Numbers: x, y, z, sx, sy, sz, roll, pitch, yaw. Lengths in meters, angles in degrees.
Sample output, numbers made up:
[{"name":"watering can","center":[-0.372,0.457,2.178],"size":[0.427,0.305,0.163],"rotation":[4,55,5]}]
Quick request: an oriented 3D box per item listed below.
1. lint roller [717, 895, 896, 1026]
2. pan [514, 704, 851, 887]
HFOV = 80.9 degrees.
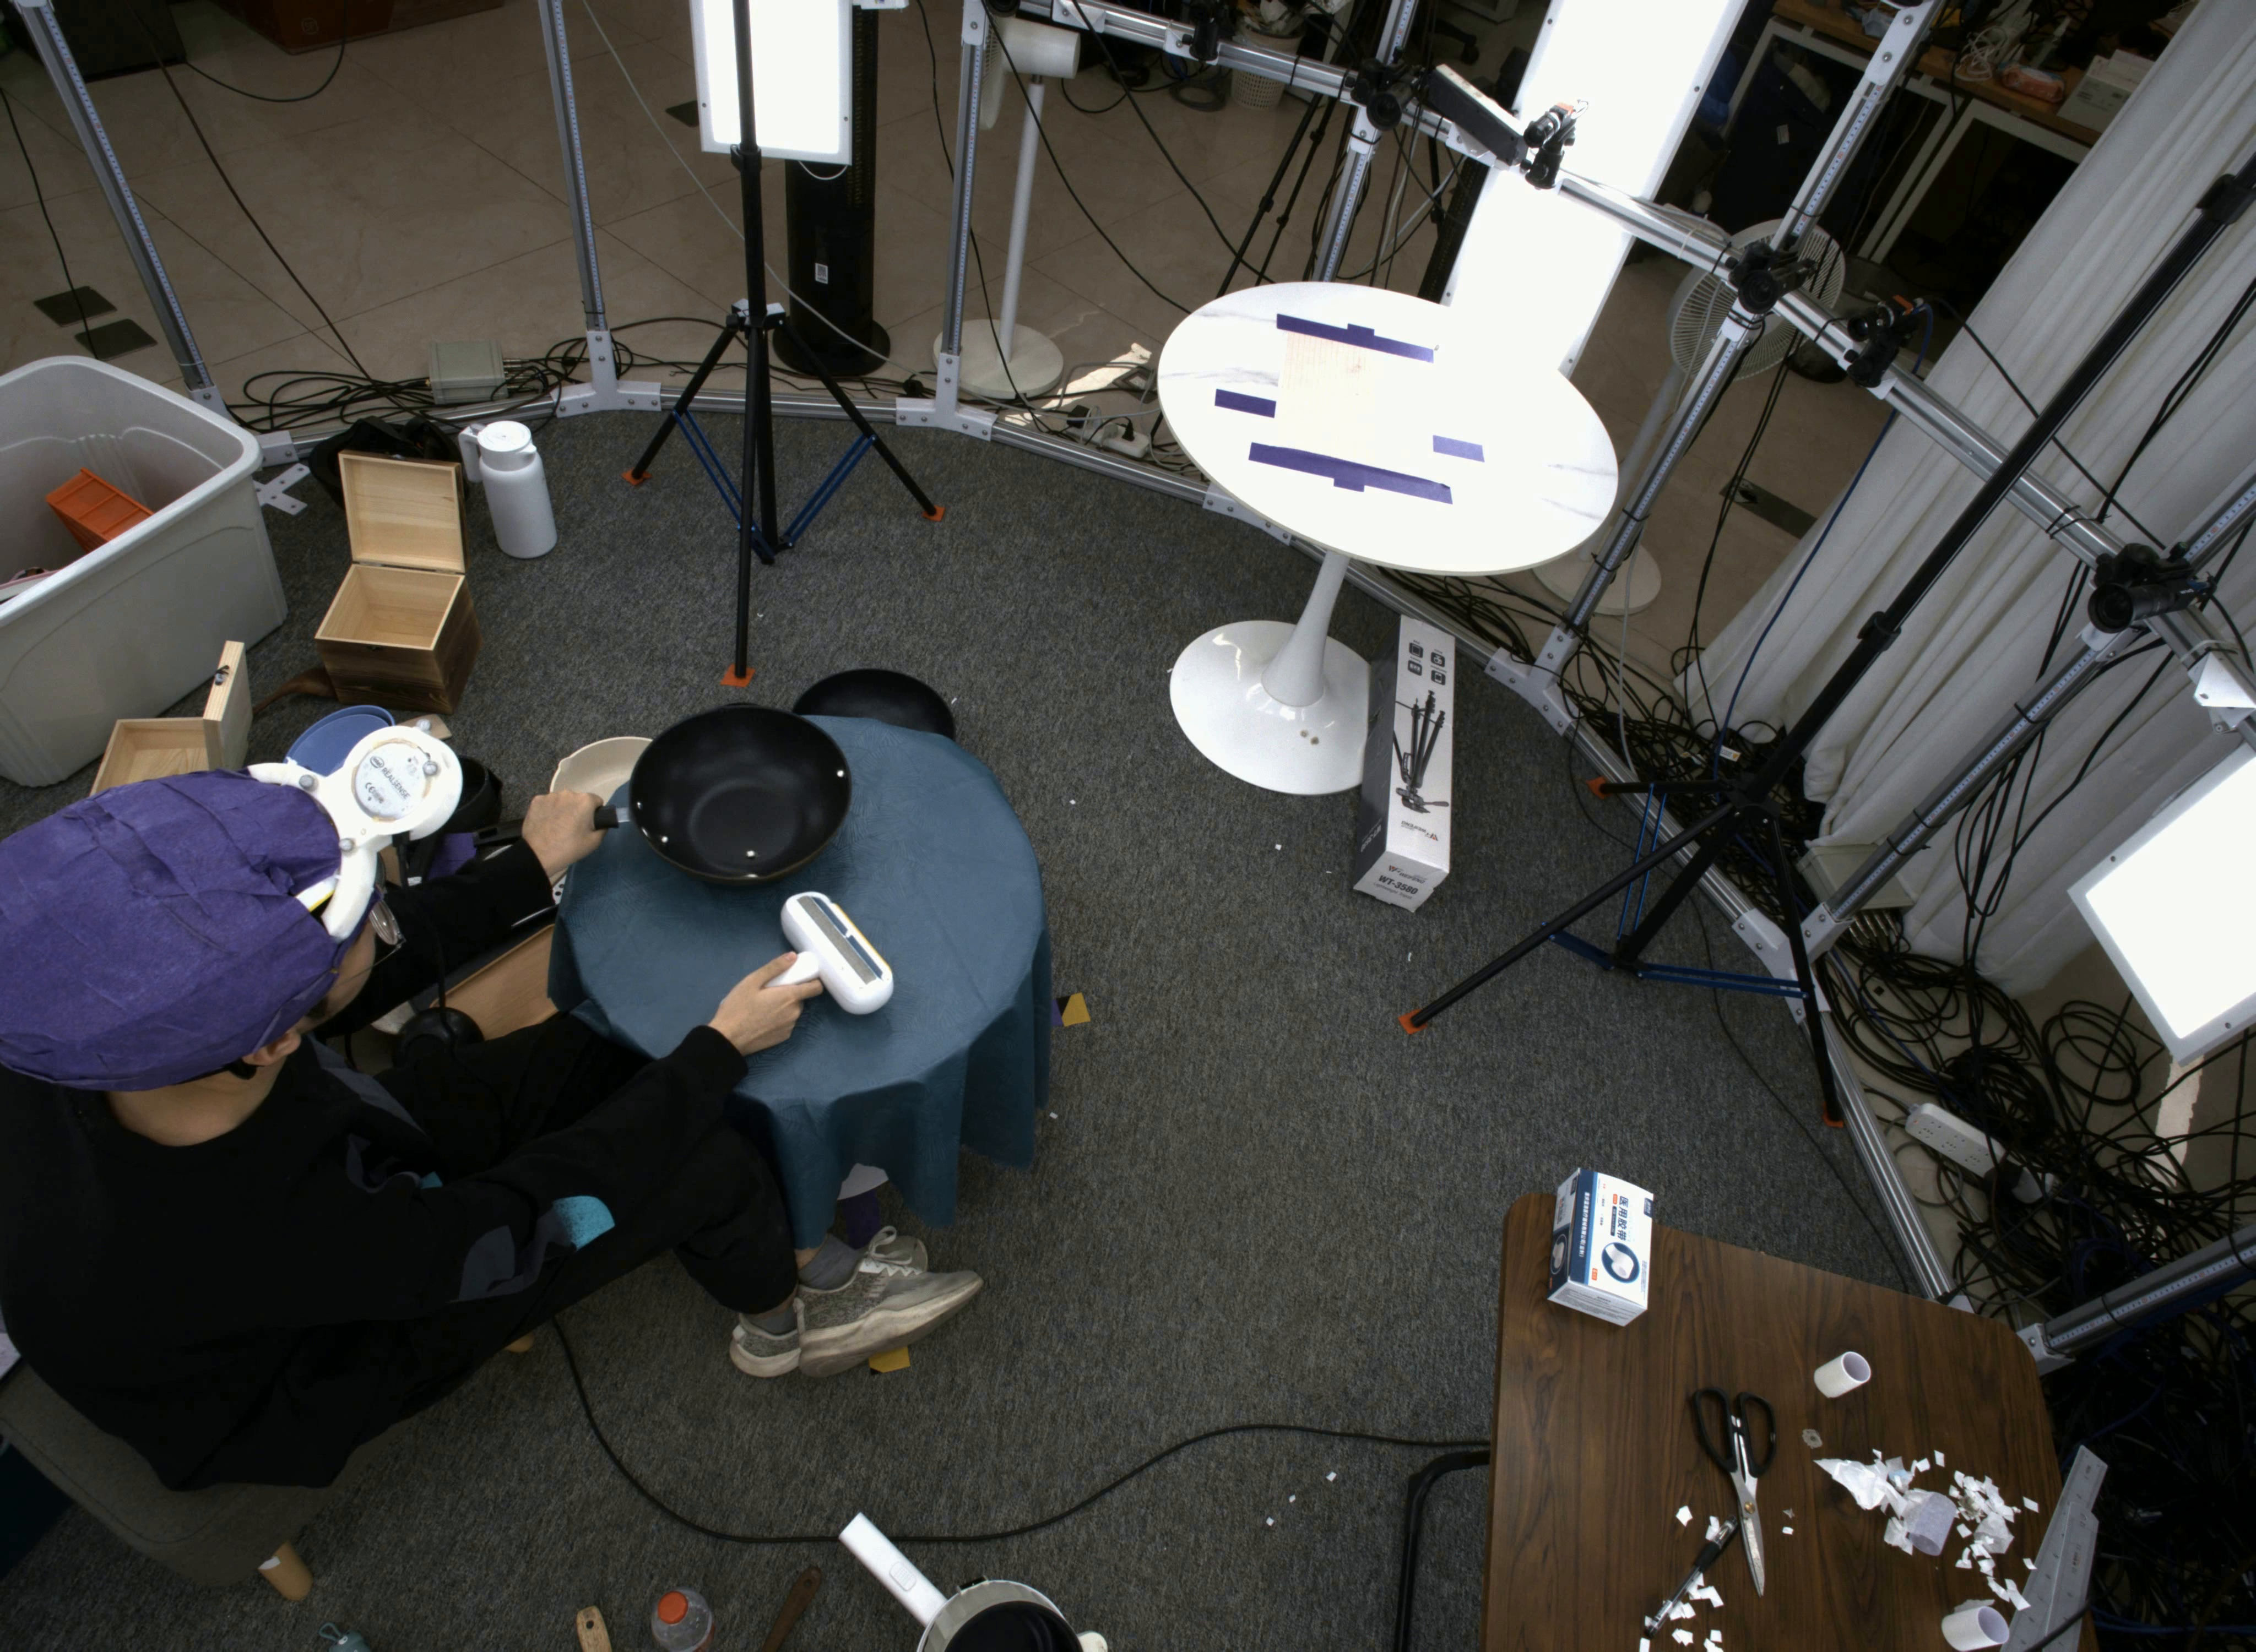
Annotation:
[{"name":"lint roller","center":[-0.399,0.177,1.552],"size":[0.194,0.076,0.187],"rotation":[-19,56,-34]},{"name":"pan","center":[-0.582,-0.010,1.642],"size":[0.465,0.089,0.281],"rotation":[-12,57,-19]}]
